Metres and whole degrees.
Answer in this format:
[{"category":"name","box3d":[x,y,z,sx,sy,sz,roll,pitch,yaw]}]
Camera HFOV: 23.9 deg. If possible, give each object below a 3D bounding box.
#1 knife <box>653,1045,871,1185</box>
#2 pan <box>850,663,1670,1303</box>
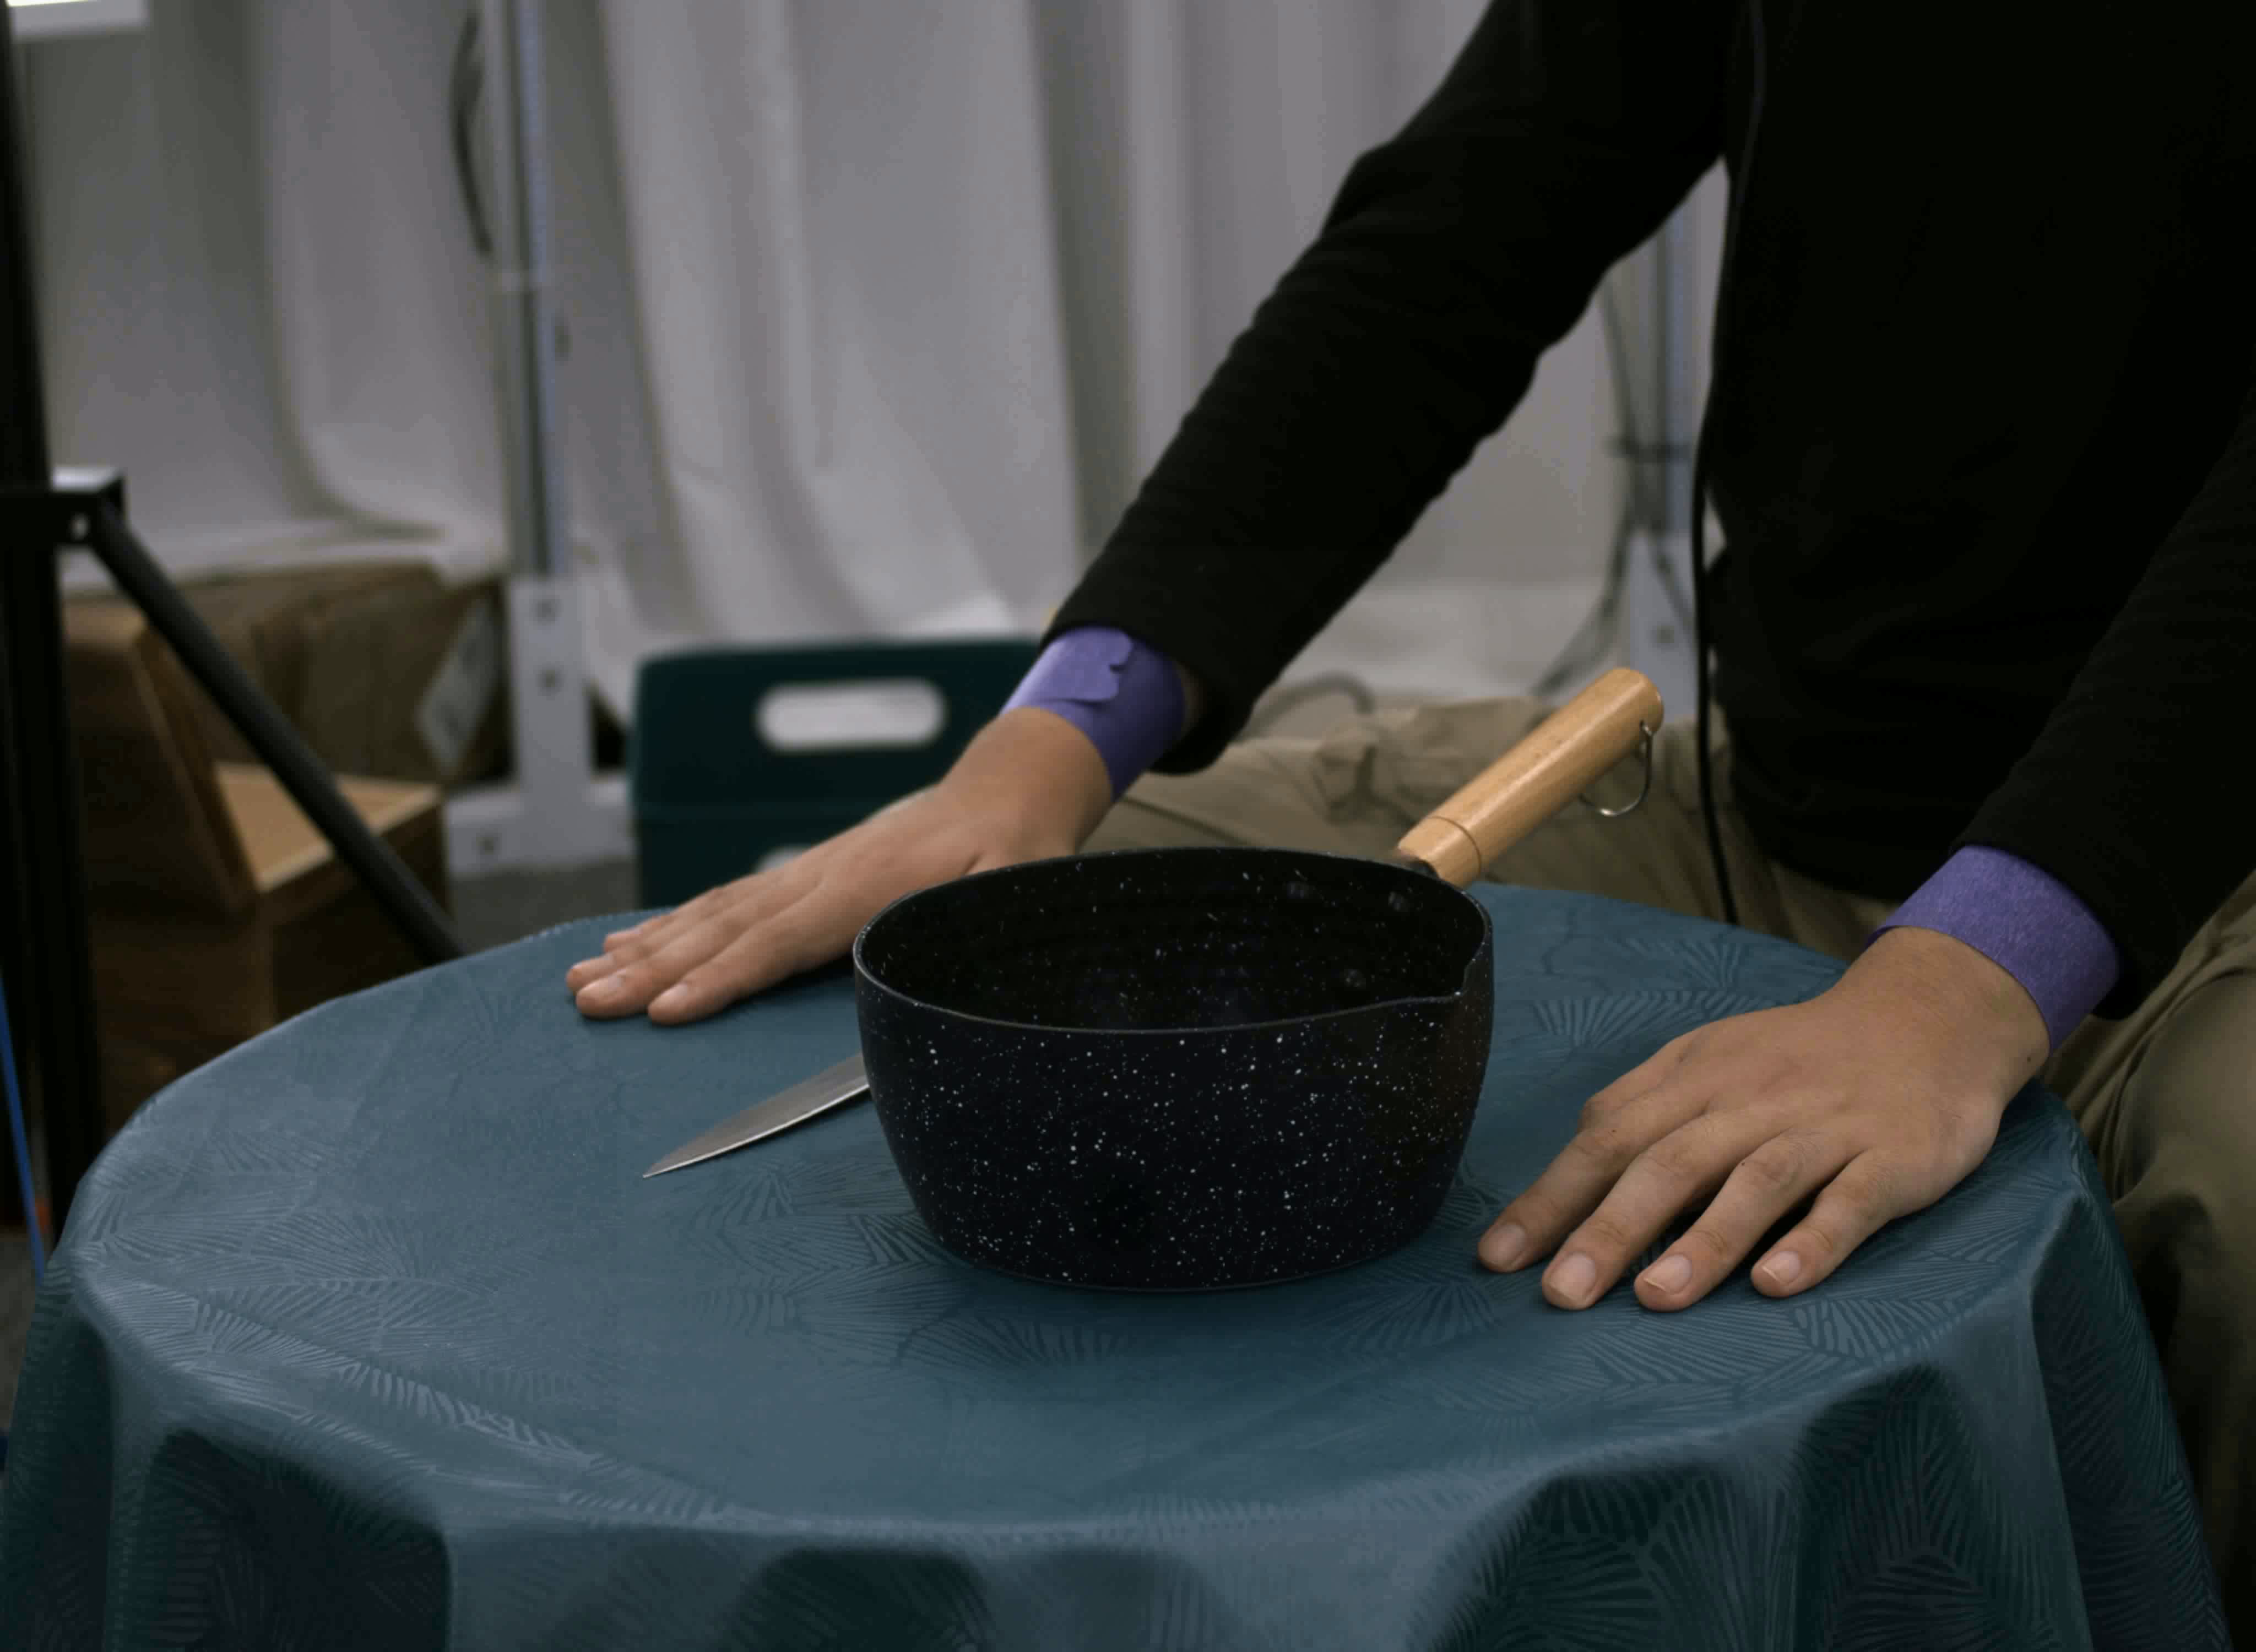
[{"category":"knife","box3d":[-0.073,0.072,1.675,0.025,0.016,0.233,13,25,35]},{"category":"pan","box3d":[0.061,0.042,1.585,0.212,0.108,0.336,9,21,37]}]
